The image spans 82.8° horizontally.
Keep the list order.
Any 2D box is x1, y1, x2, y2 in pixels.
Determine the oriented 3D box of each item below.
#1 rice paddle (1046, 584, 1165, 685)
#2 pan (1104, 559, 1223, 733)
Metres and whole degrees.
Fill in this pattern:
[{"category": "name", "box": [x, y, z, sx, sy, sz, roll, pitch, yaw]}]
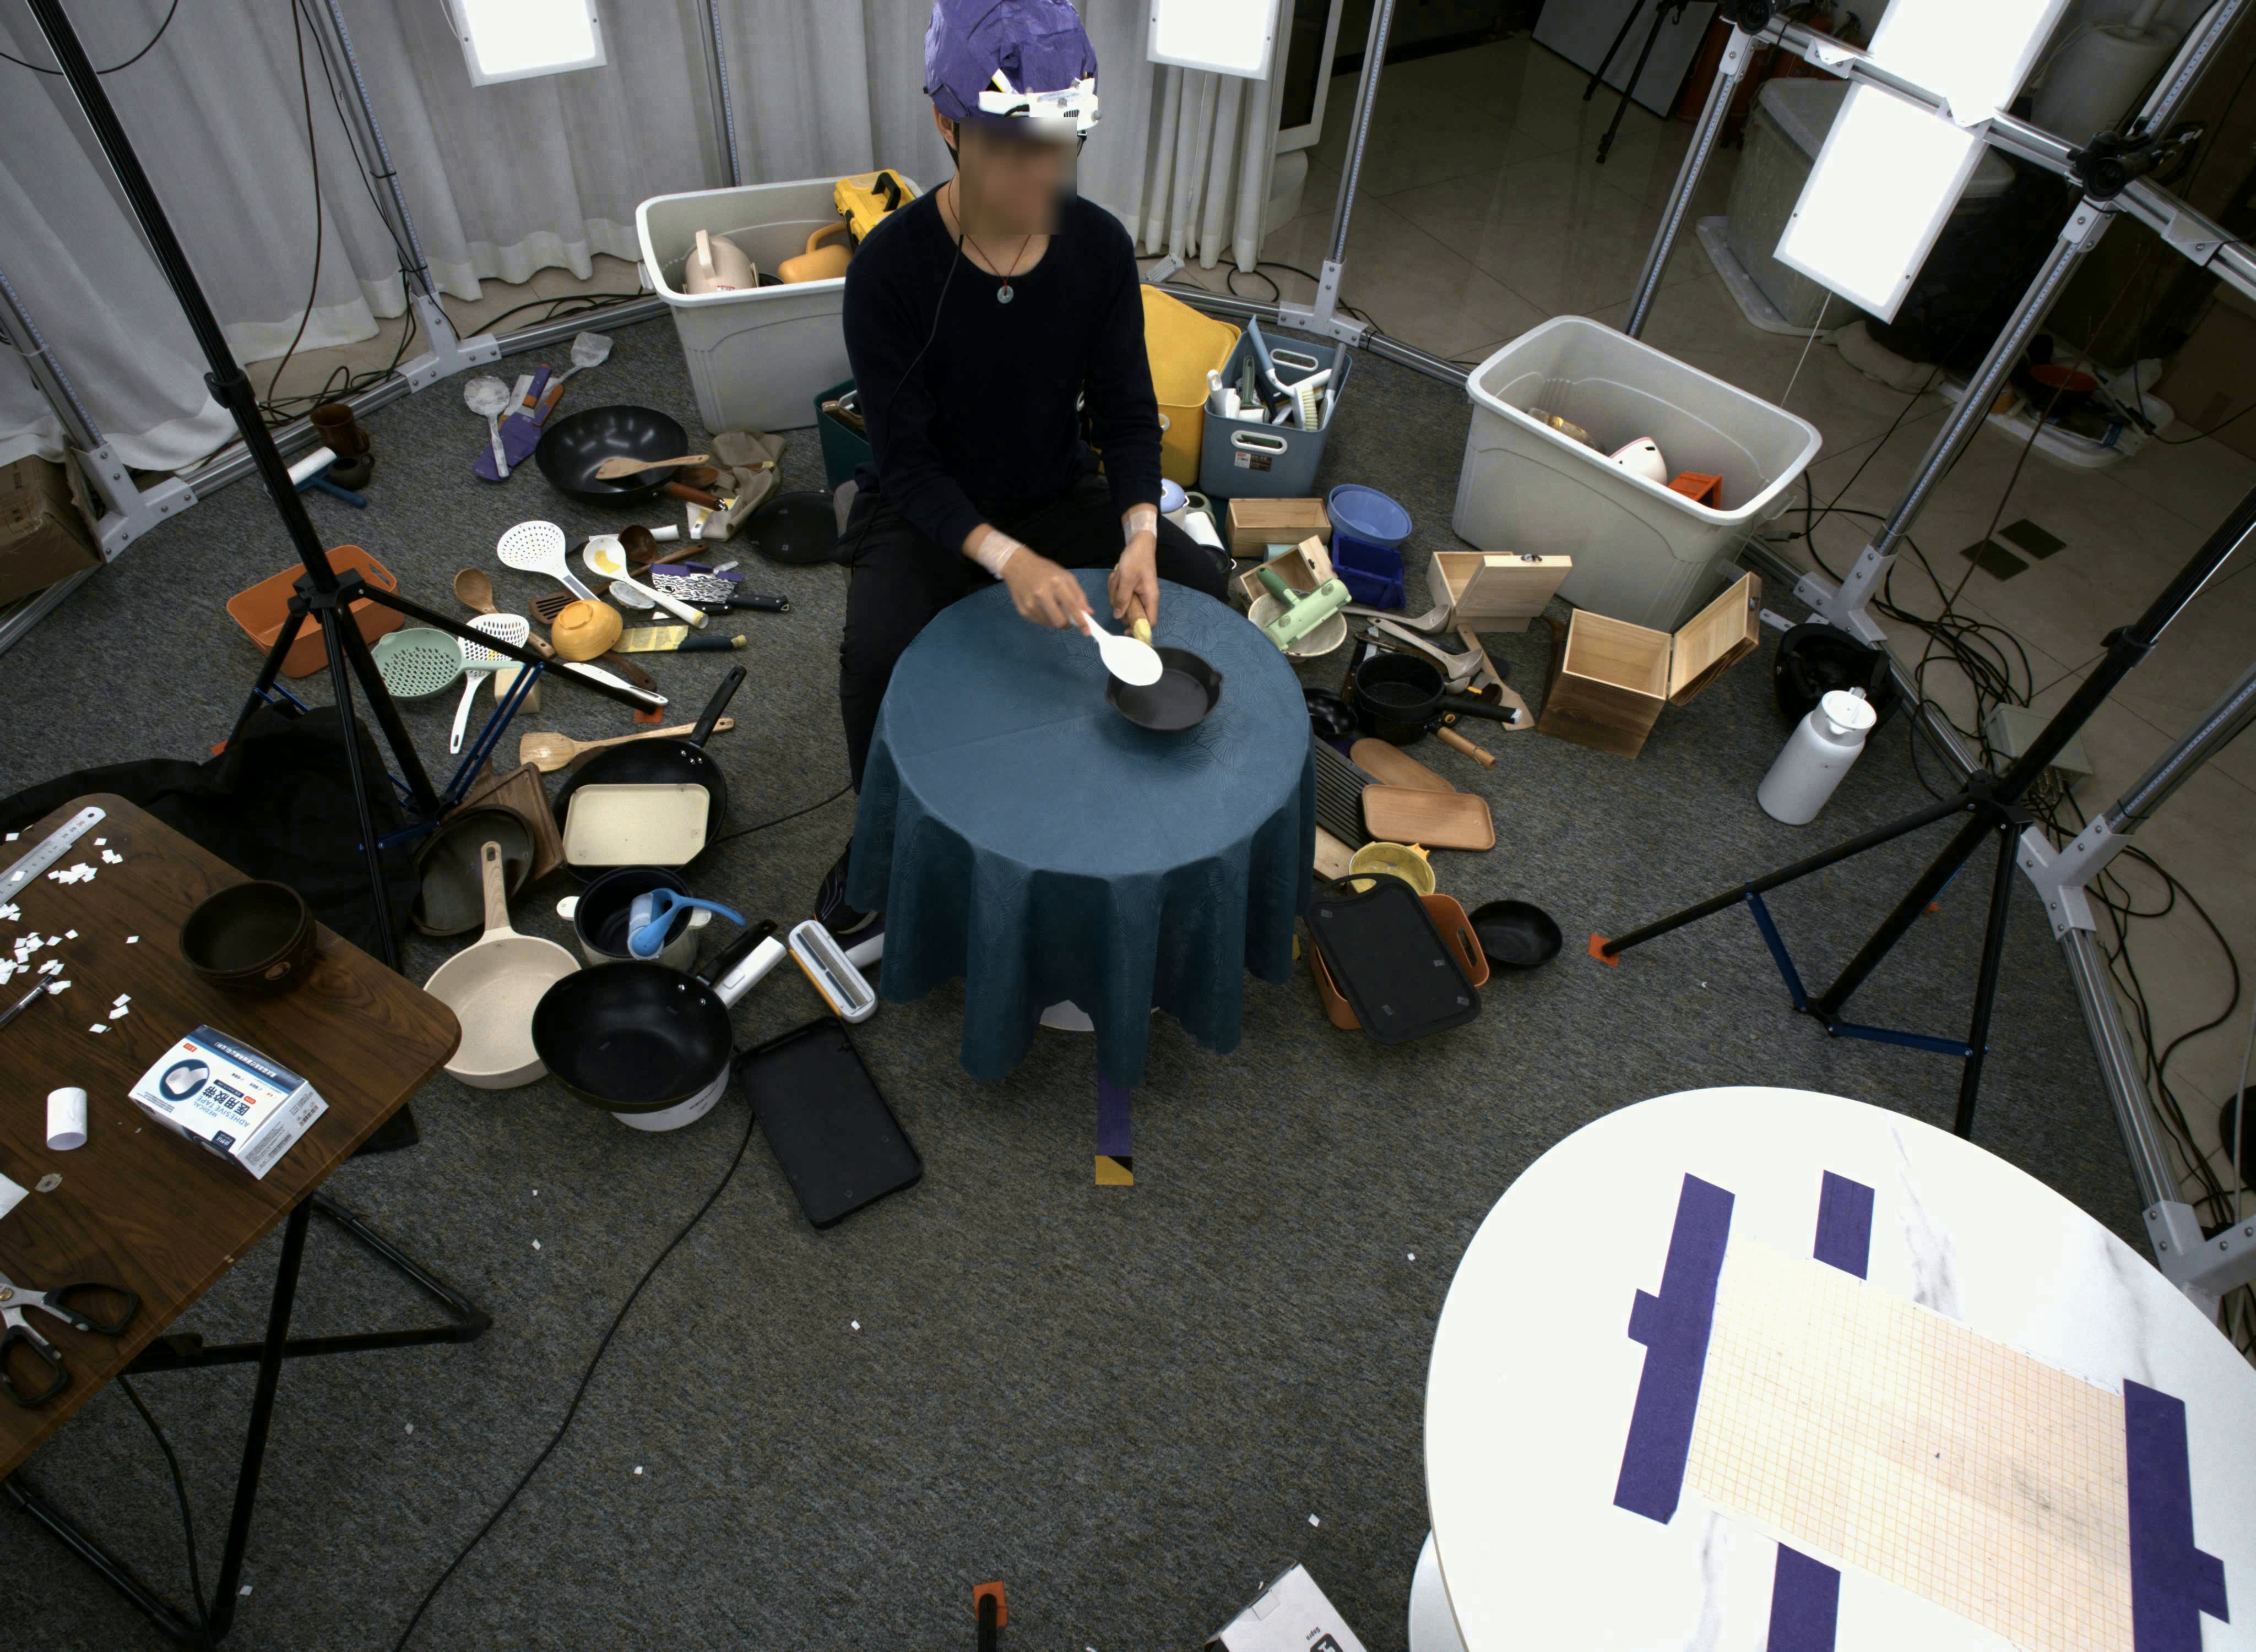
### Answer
[{"category": "rice paddle", "box": [-0.031, -0.265, 1.776, 0.208, 0.029, 0.069, 41, 66, 19]}, {"category": "pan", "box": [0.029, -0.256, 1.819, 0.169, 0.048, 0.332, -10, 53, -9]}]
